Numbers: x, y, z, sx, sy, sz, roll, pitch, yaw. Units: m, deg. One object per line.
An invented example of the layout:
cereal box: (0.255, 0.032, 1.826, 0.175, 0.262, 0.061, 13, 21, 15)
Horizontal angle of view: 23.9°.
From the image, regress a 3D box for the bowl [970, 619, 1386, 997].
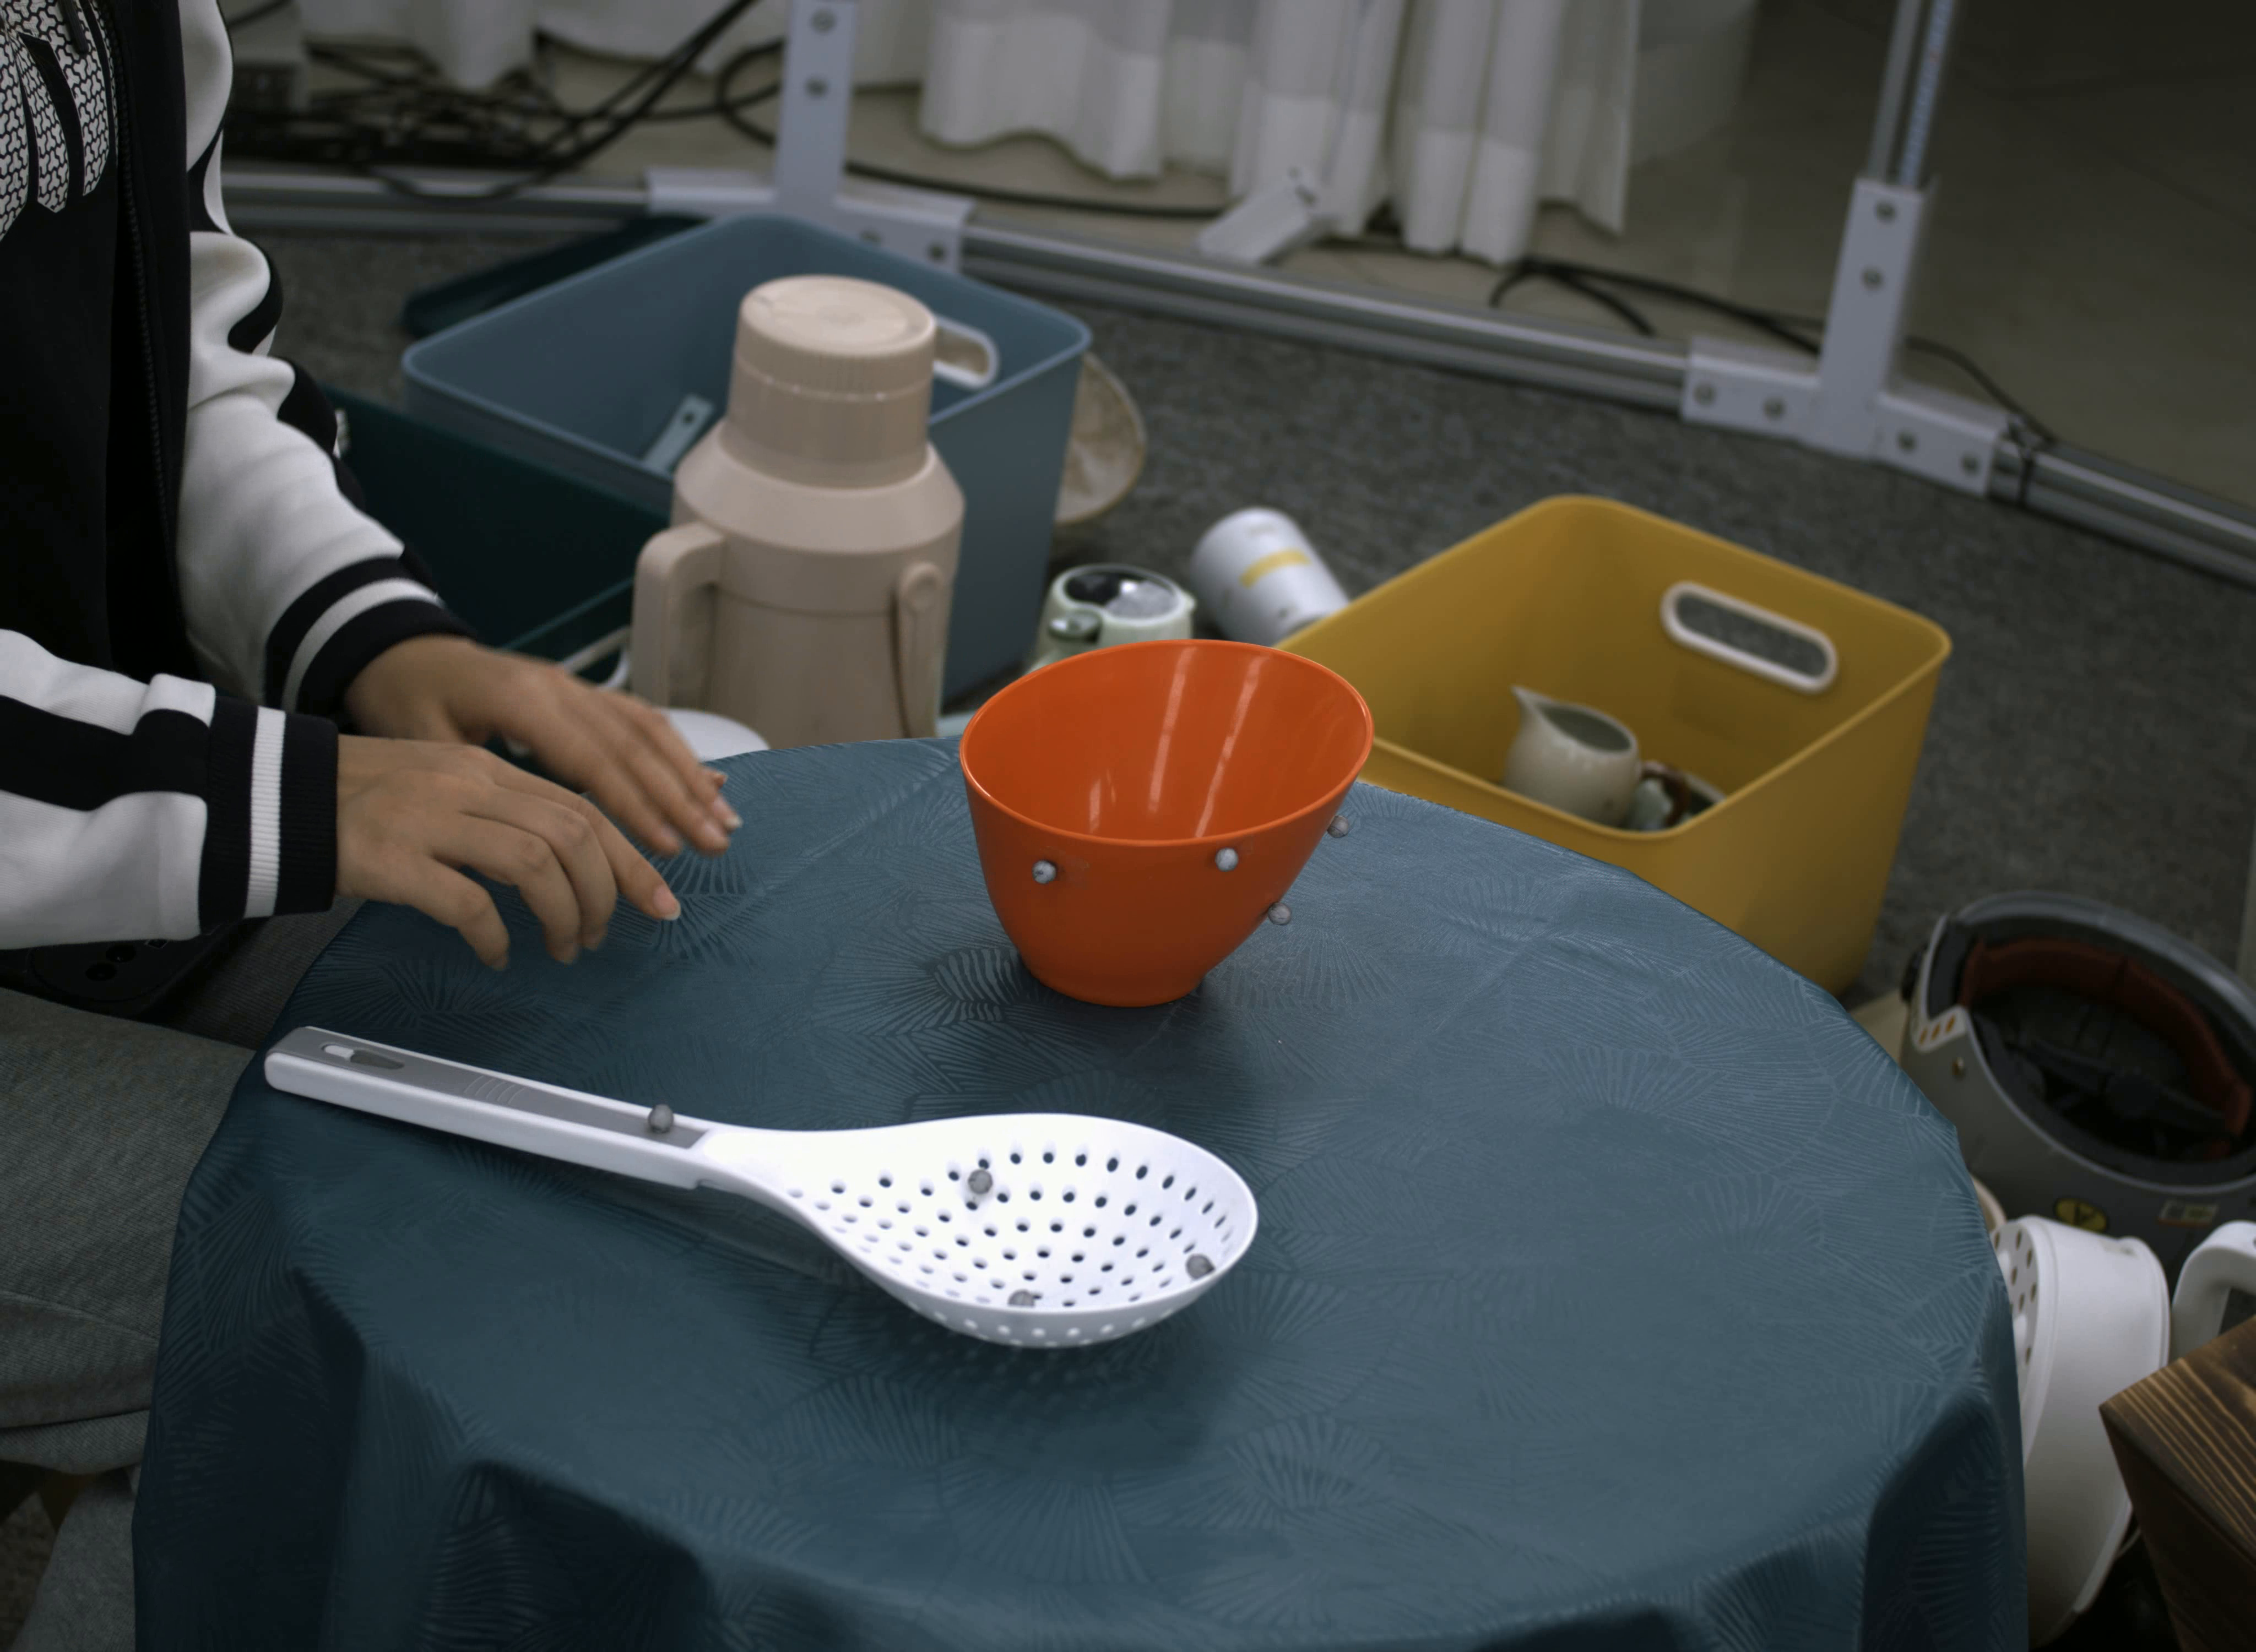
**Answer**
bowl: (0.014, 0.001, 1.923, 0.147, 0.104, 0.149, 4, 34, -3)

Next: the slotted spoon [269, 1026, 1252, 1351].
slotted spoon: (-0.127, 0.111, 1.749, 0.351, 0.045, 0.136, 16, 26, 19)
